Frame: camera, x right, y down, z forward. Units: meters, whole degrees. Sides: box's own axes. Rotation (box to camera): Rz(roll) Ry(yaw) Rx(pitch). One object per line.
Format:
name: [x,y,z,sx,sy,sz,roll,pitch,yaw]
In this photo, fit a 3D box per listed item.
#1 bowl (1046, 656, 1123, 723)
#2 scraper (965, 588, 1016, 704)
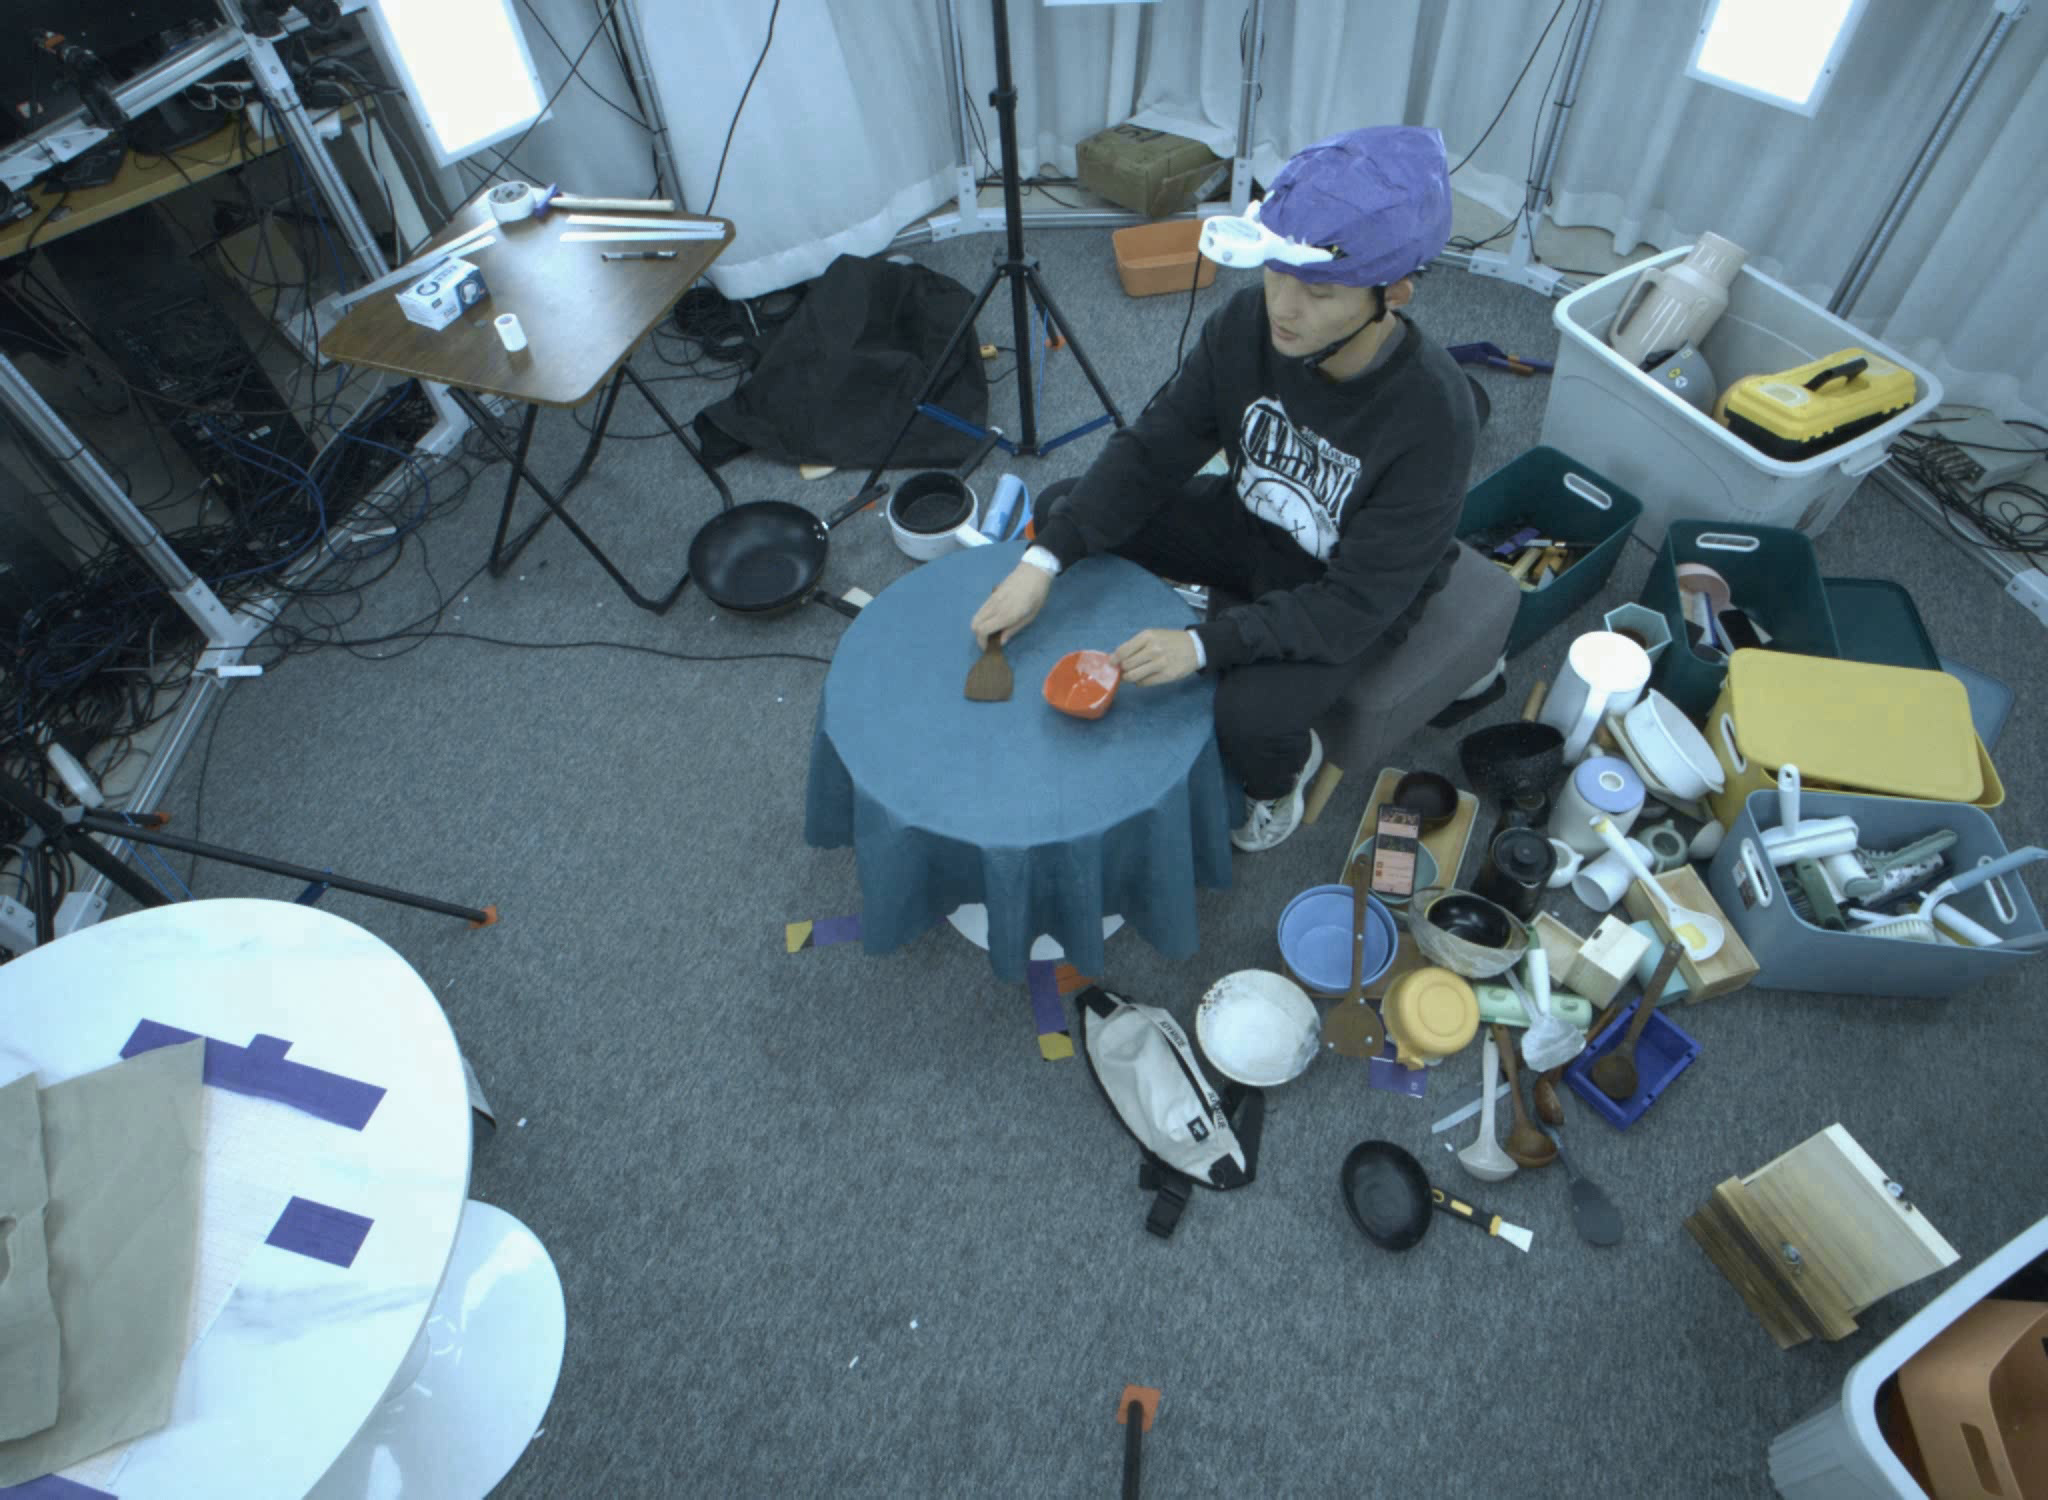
bowl: [0.095,-0.083,1.813,0.118,0.052,0.117,-11,48,14]
scraper: [-0.043,-0.162,1.892,0.076,0.011,0.210,5,65,2]
